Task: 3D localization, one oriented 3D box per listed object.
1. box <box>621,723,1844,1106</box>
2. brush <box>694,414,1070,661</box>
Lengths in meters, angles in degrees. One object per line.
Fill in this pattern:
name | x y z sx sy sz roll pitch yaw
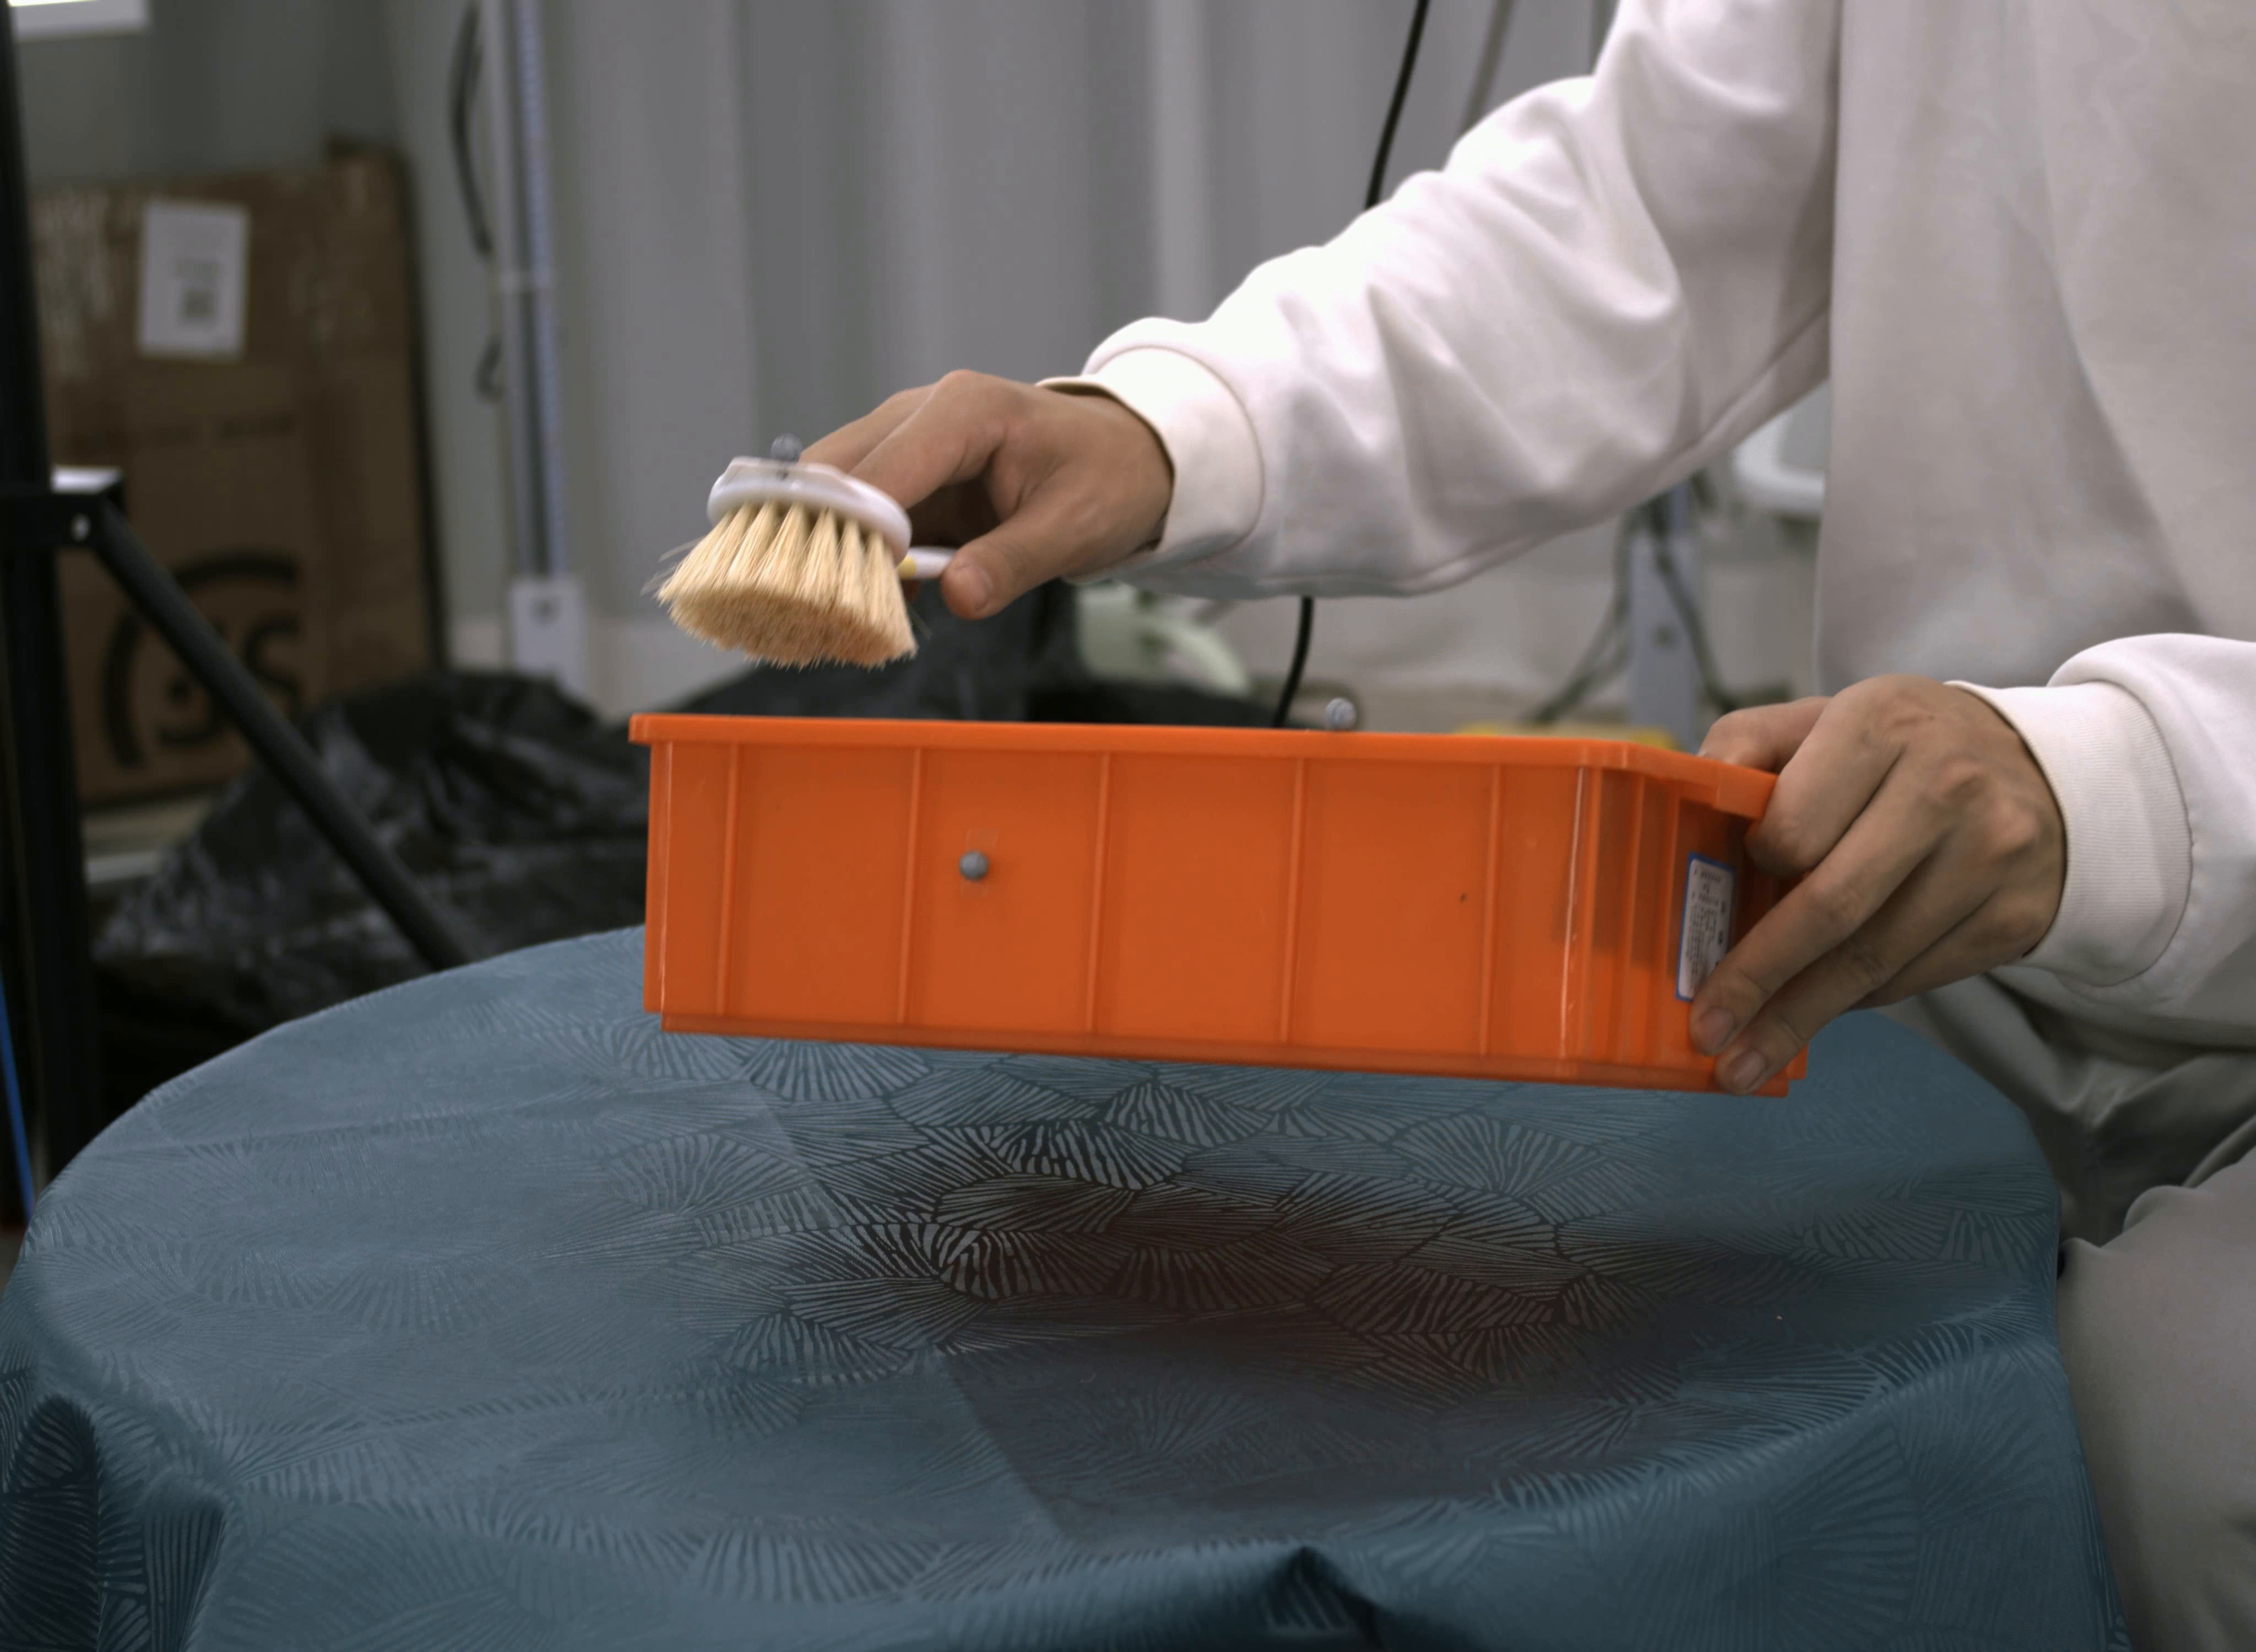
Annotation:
box | 0.029 0.026 1.484 0.308 0.097 0.202 3 -3 27
brush | -0.064 -0.068 1.628 0.069 0.056 0.263 19 -4 15
